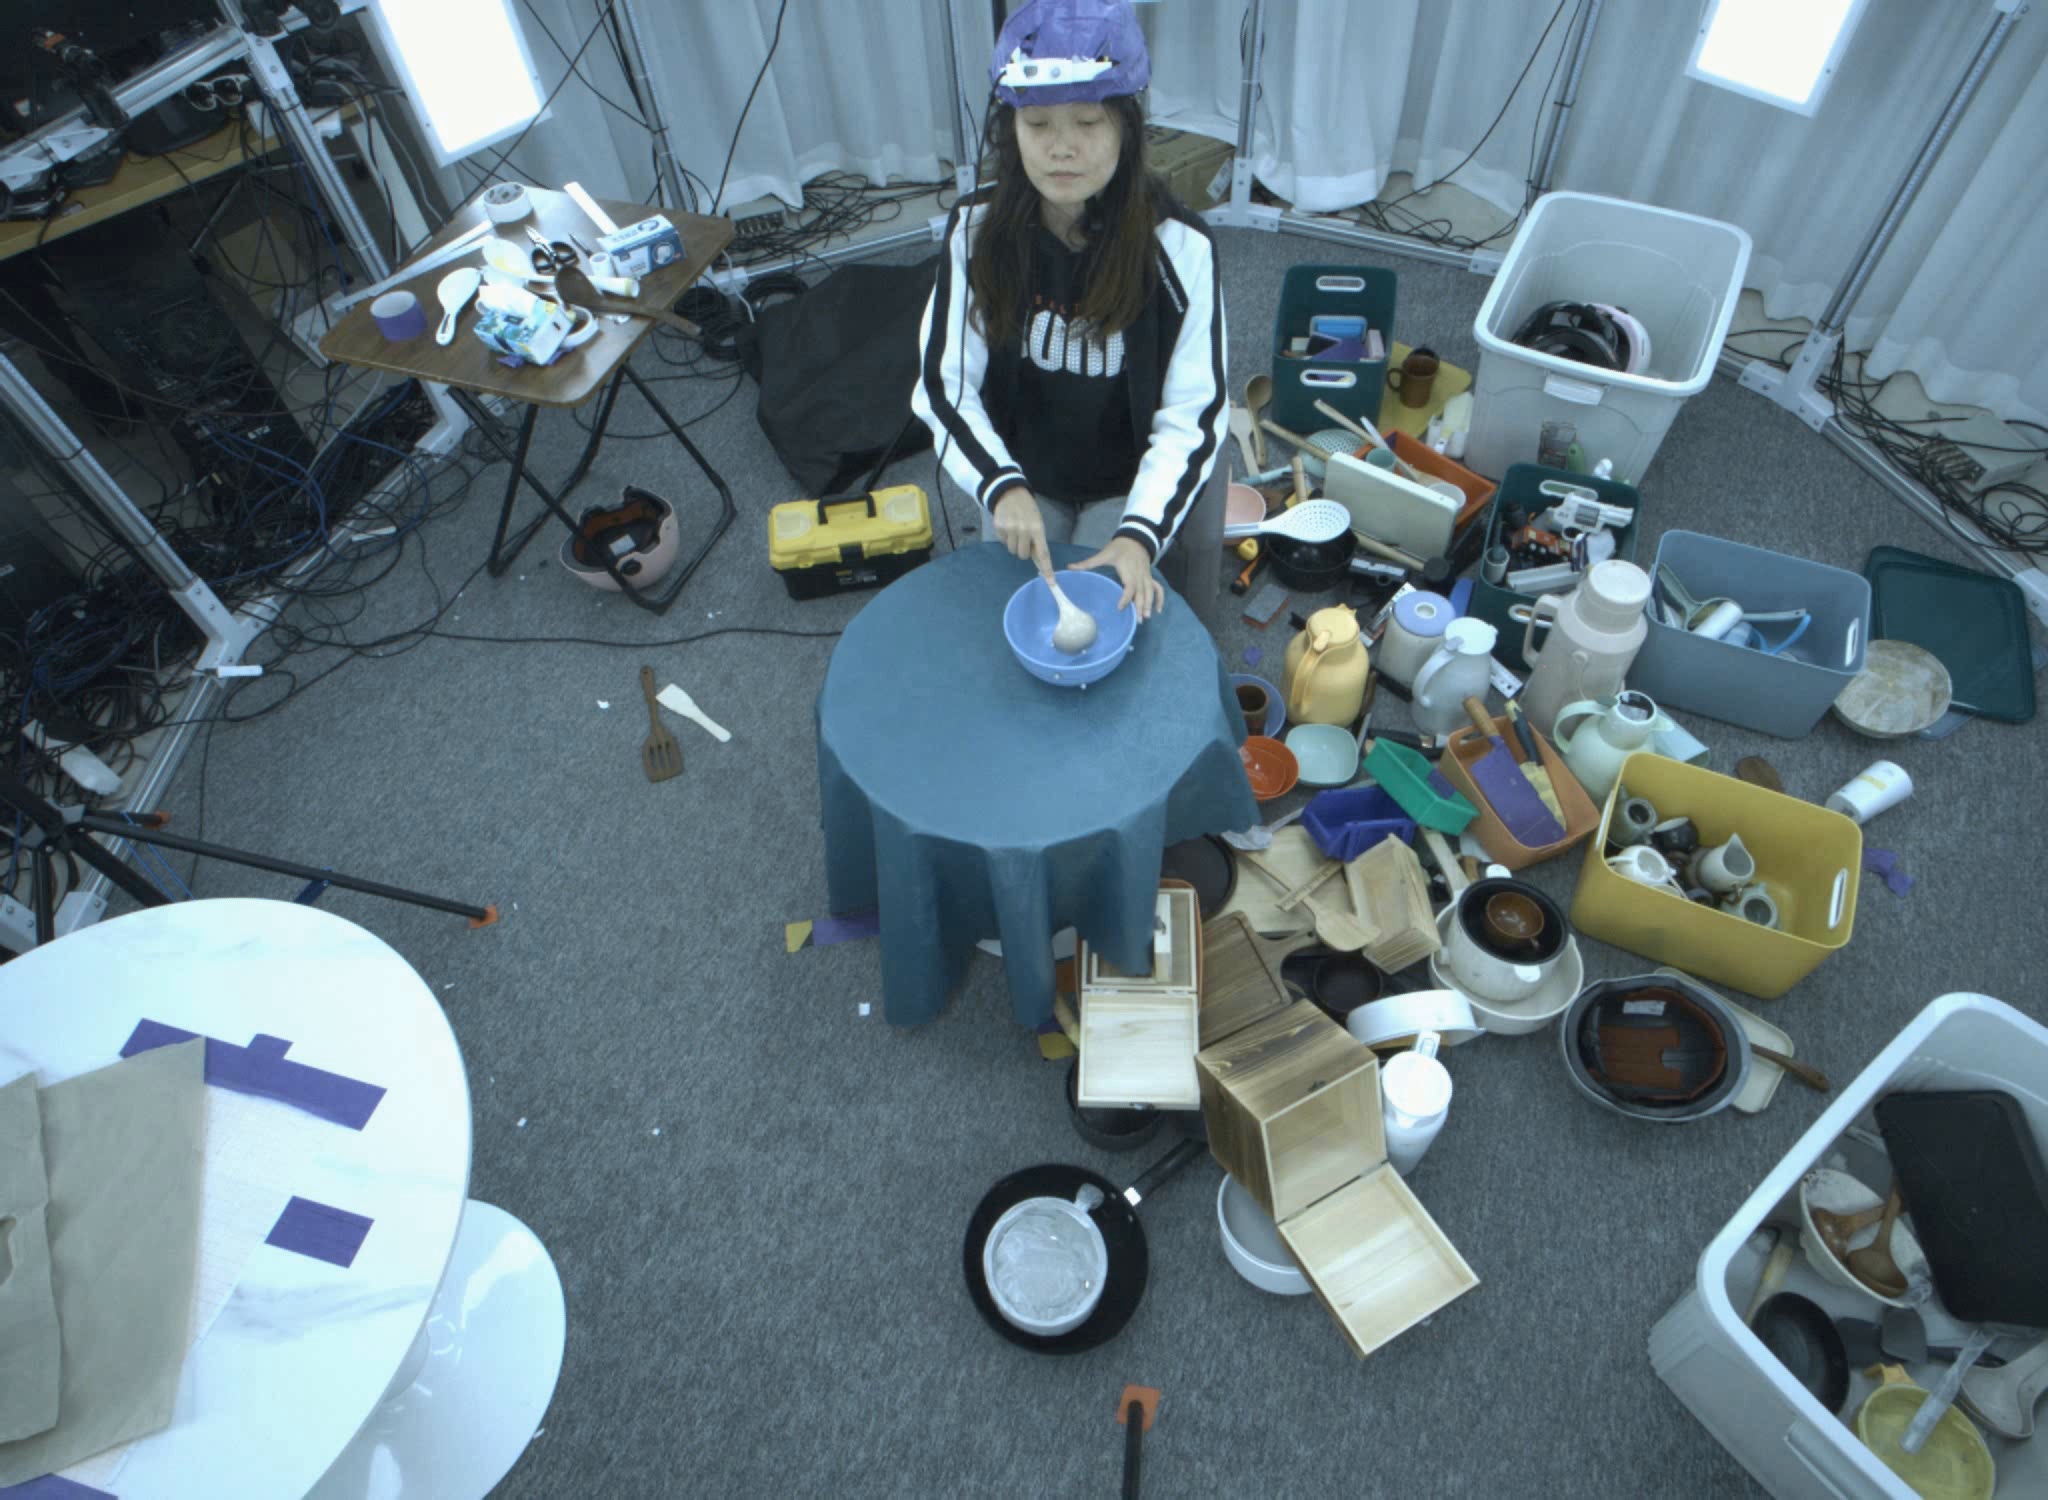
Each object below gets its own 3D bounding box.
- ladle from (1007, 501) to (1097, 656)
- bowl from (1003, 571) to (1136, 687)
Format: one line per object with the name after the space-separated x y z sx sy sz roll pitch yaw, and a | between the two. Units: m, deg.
0.032 -0.258 1.860 0.072 0.073 0.252 -24 74 -11 | ladle
0.070 -0.166 1.848 0.196 0.096 0.194 -1 54 3 | bowl
